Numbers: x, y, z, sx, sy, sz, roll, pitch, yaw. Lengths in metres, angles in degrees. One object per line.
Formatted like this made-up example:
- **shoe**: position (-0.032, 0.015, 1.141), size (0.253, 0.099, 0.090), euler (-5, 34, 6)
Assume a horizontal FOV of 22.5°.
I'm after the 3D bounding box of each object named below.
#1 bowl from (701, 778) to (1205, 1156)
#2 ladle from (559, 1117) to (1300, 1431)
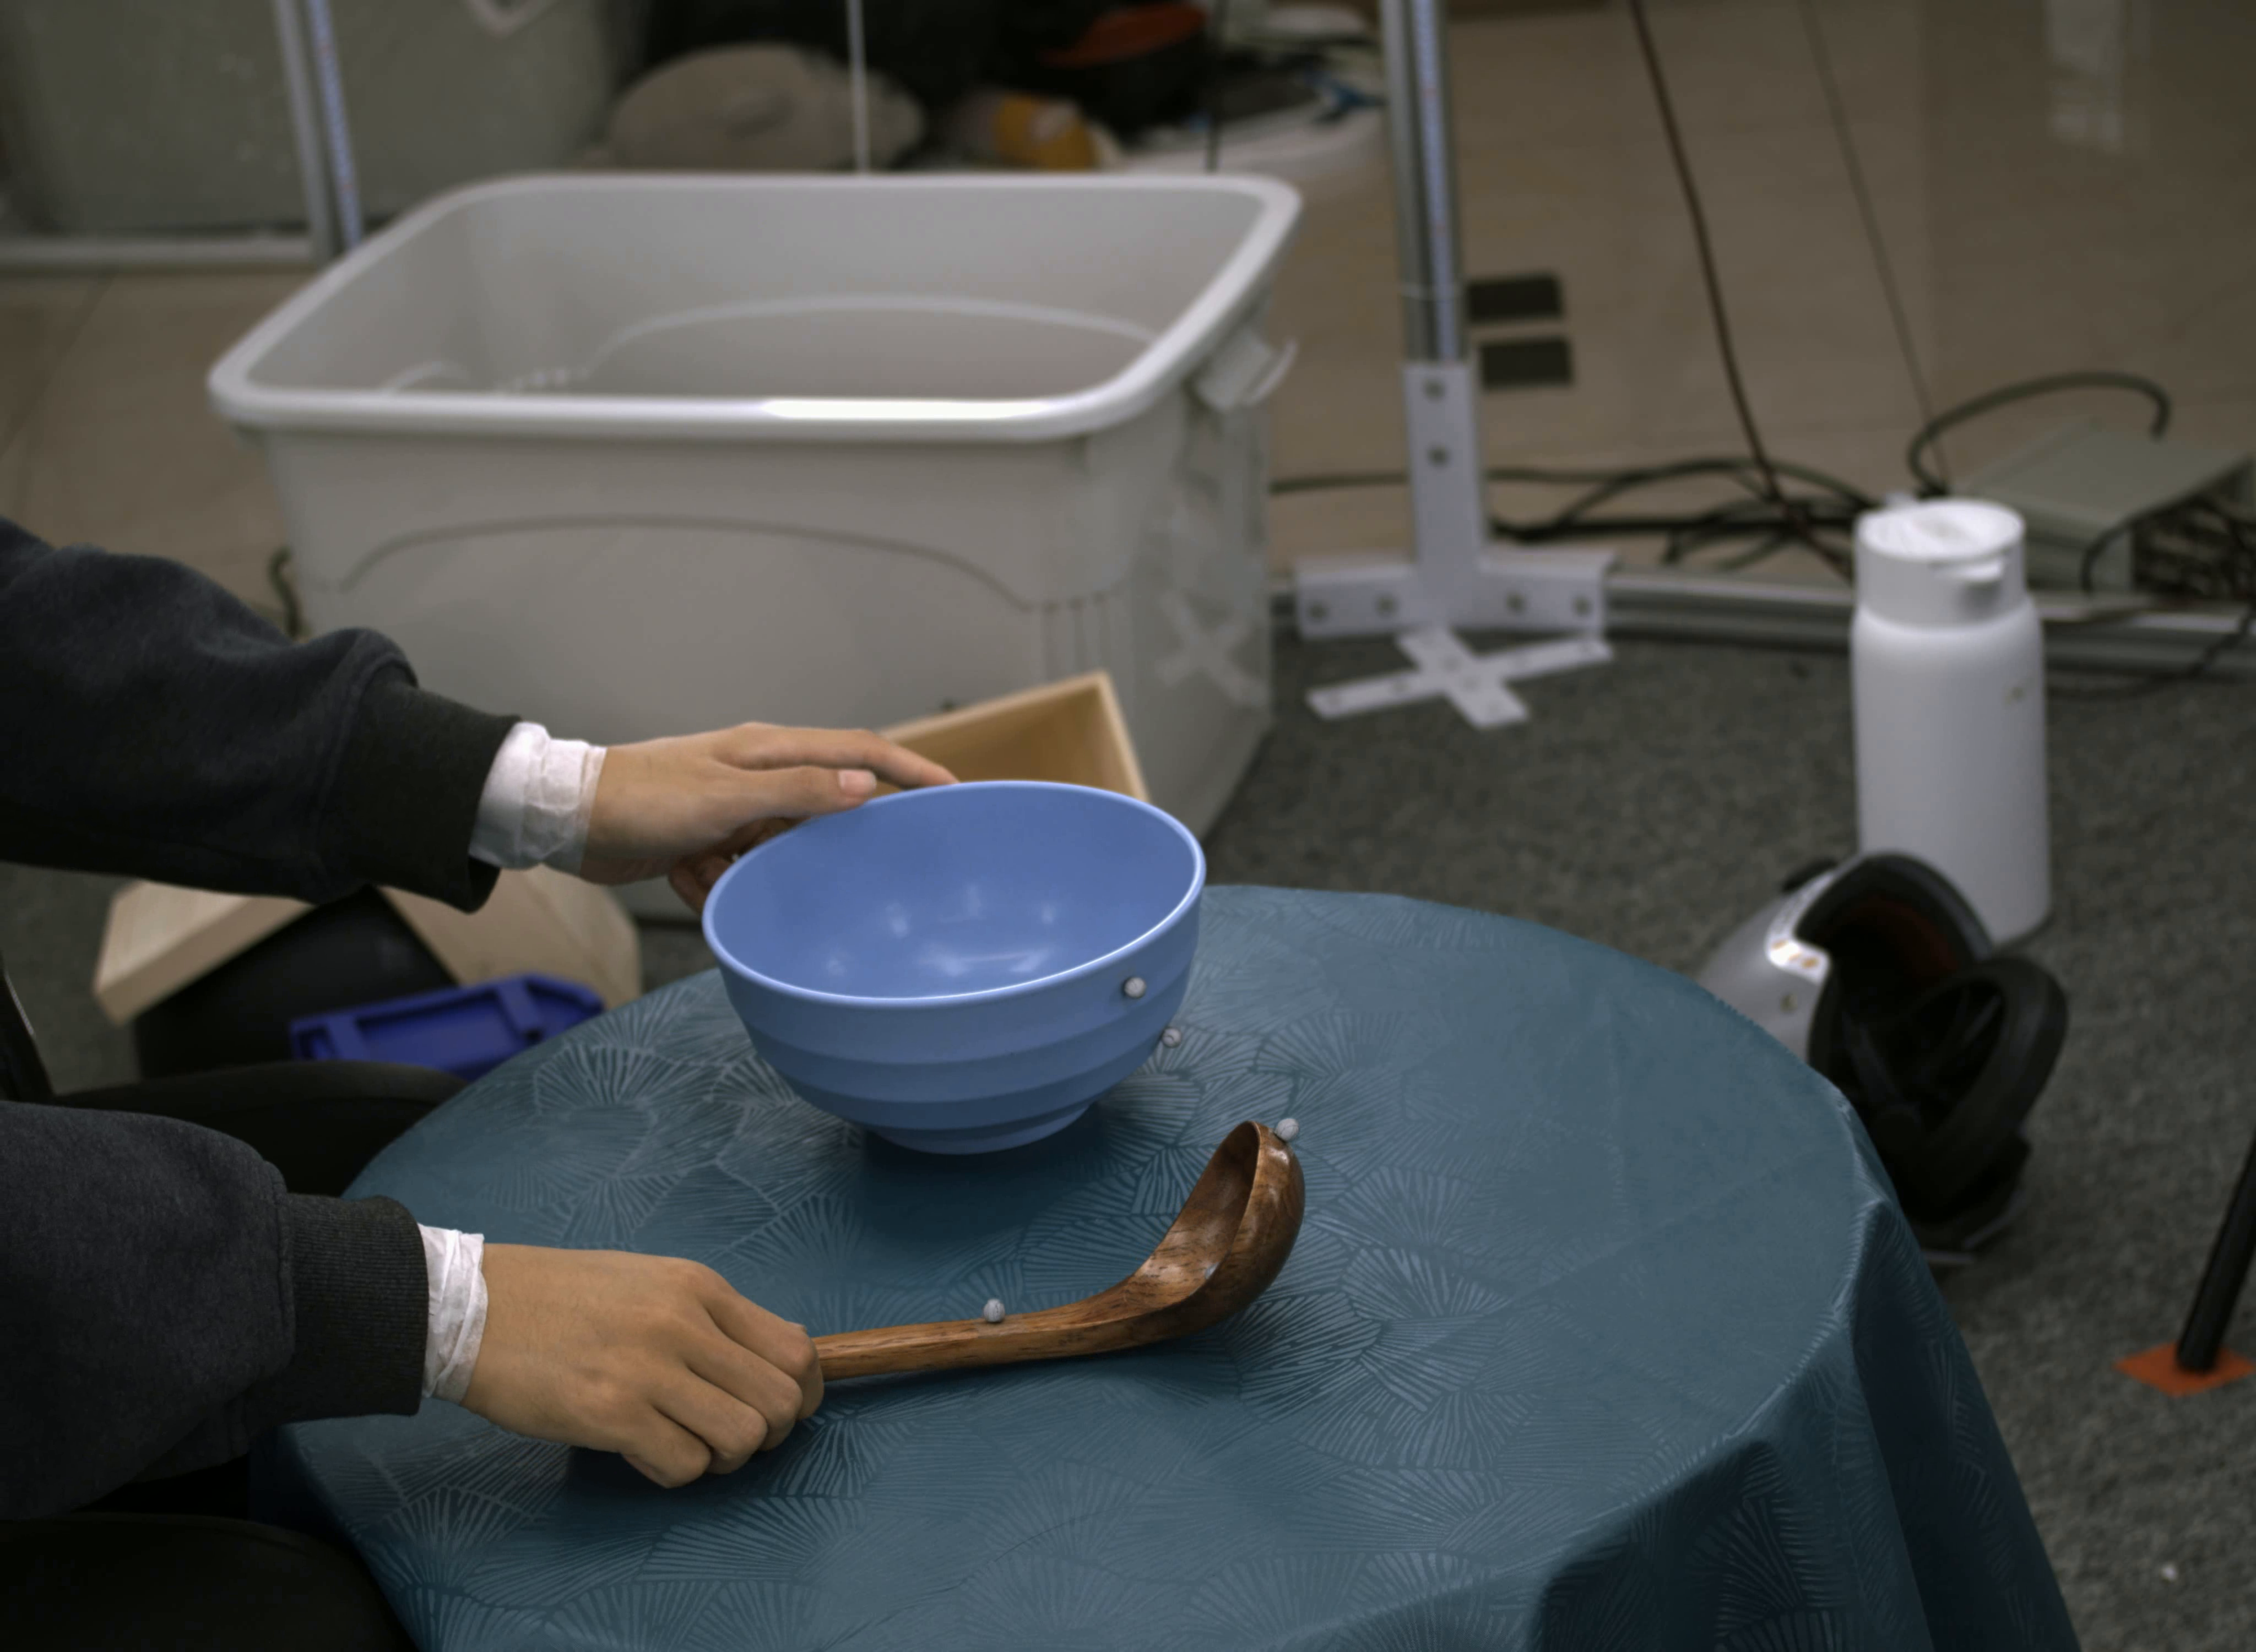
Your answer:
- **bowl**: position (-0.062, 0.066, 2.207), size (0.196, 0.097, 0.193), euler (-6, 26, 3)
- **ladle**: position (-0.072, 0.160, 2.025), size (0.273, 0.077, 0.081), euler (-8, 14, -3)
